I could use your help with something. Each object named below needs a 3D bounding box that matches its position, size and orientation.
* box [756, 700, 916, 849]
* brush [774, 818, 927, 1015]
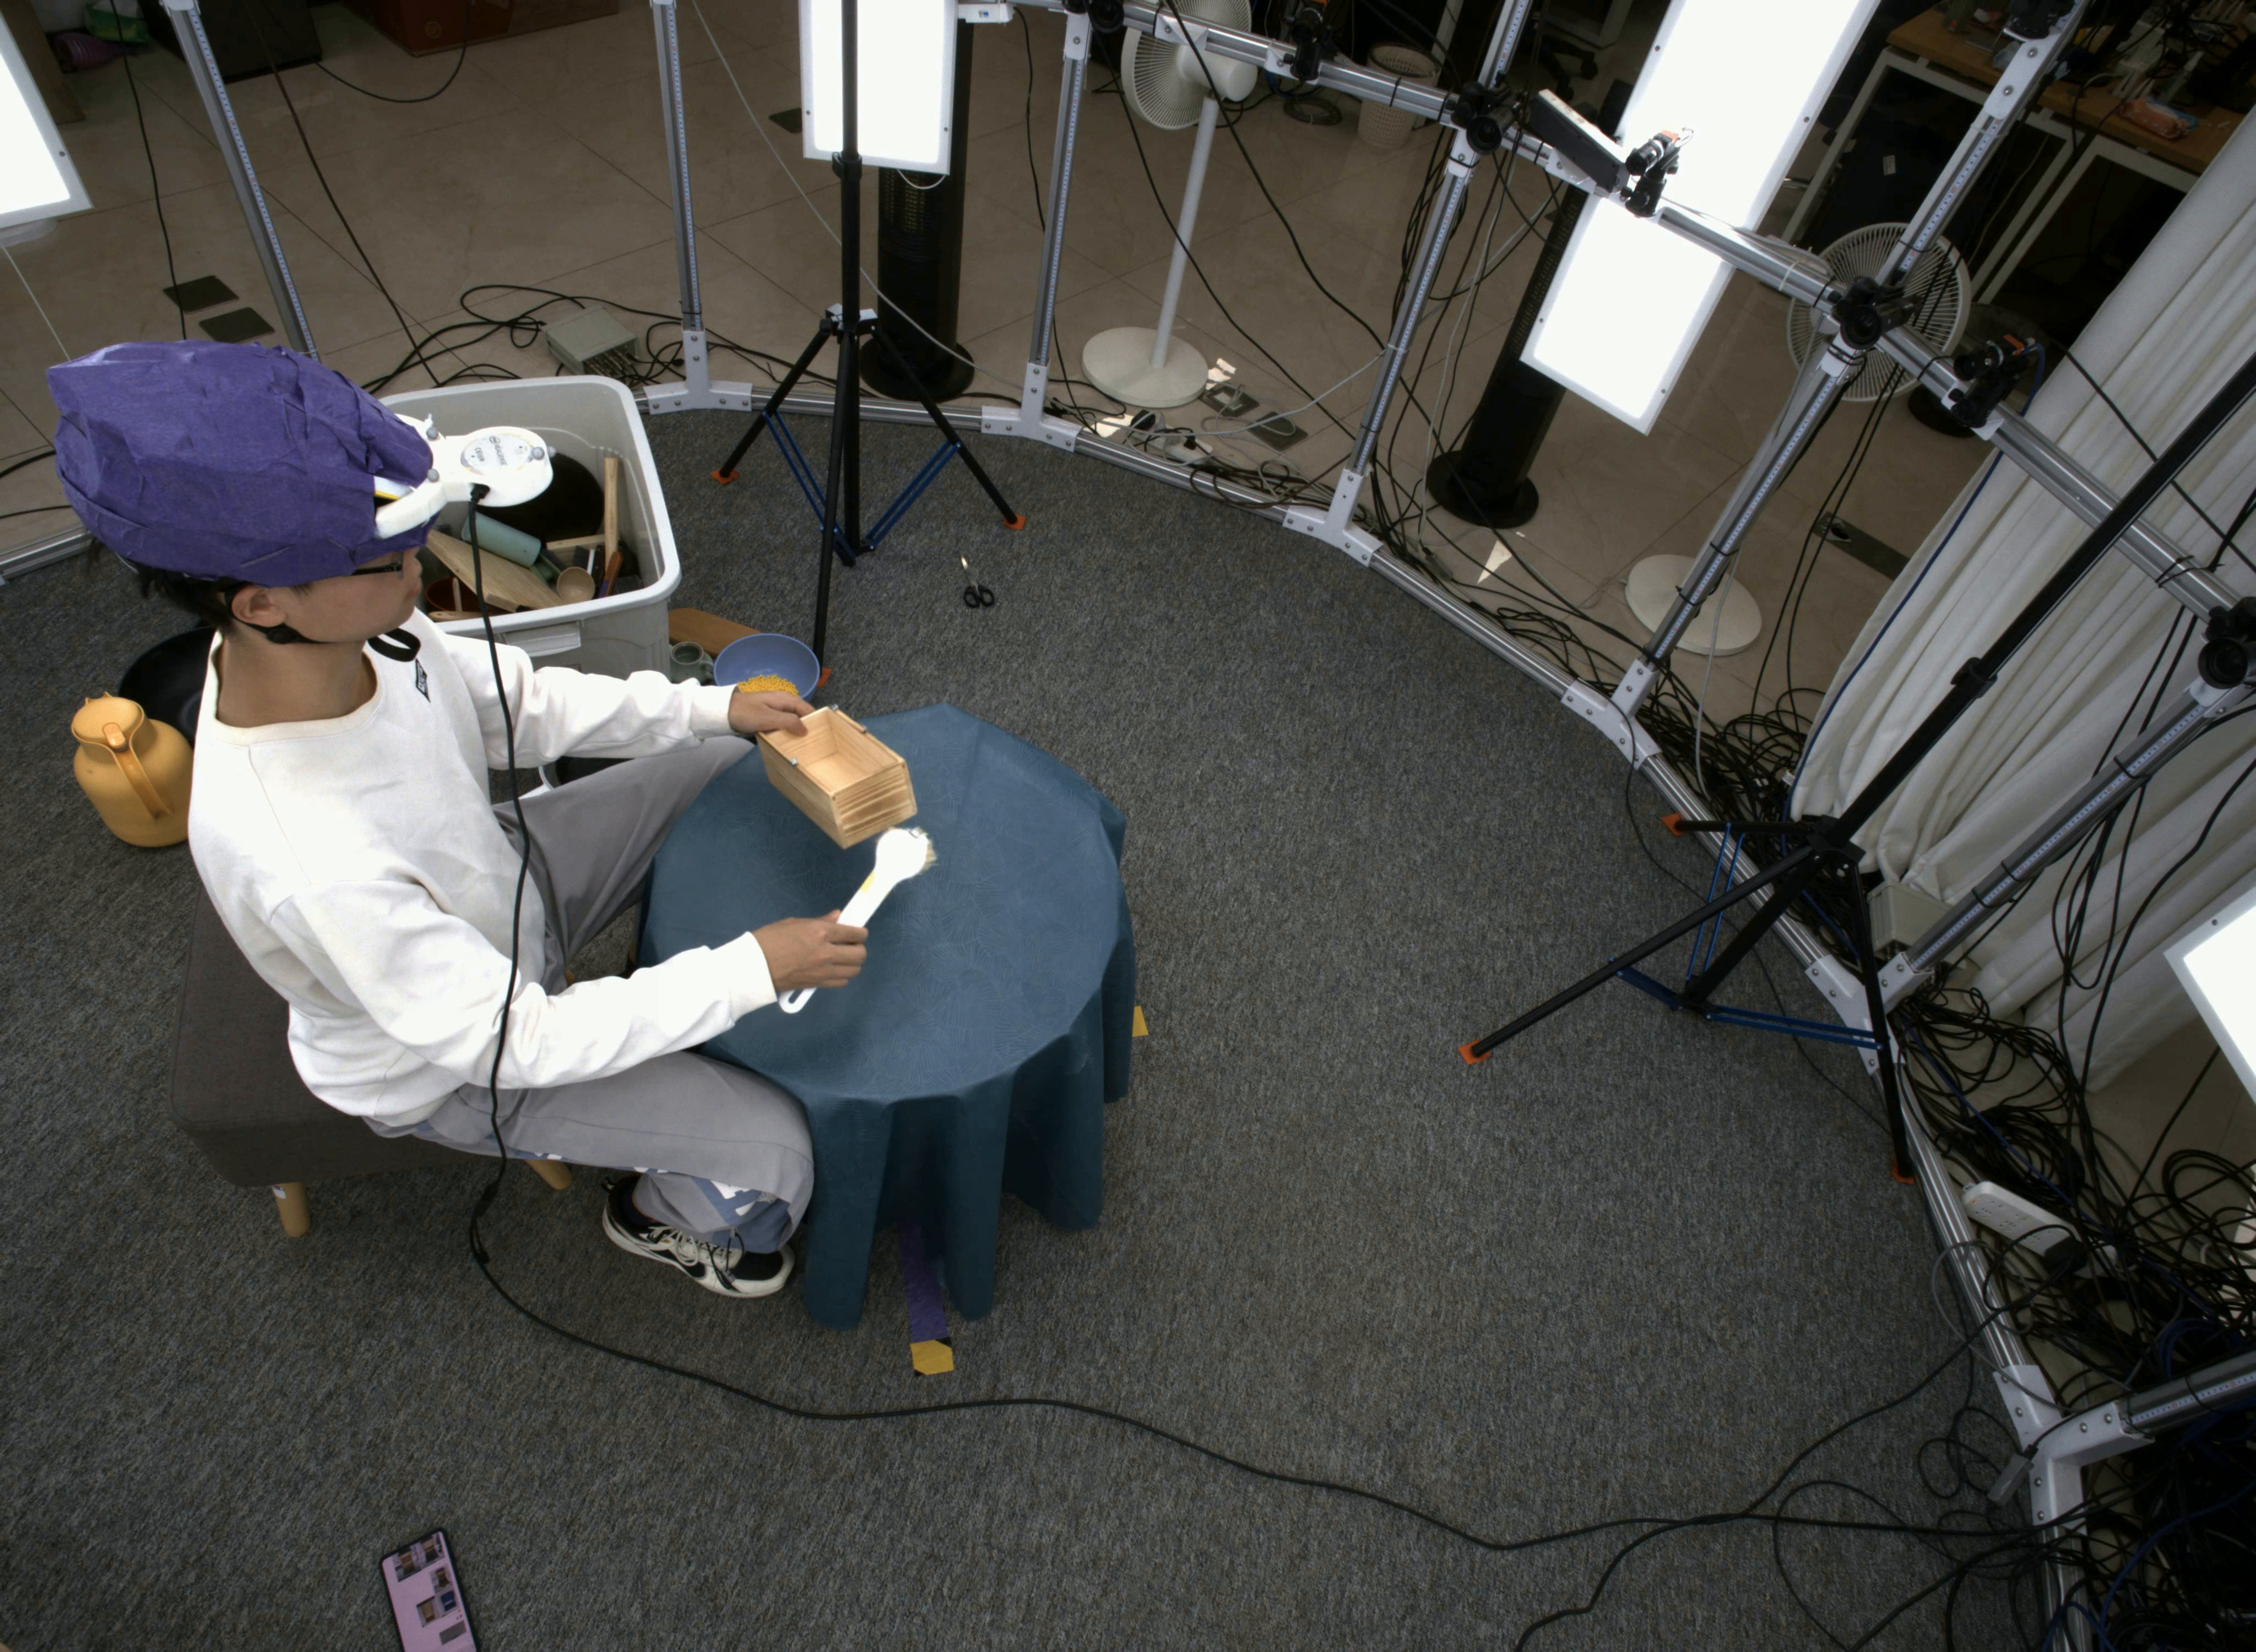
[{"bbox_3d":[-0.369,-0.068,1.632,0.108,0.083,0.203,-30,42,-26],"label":"box"},{"bbox_3d":[-0.331,0.106,1.535,0.067,0.057,0.267,32,84,8],"label":"brush"}]
